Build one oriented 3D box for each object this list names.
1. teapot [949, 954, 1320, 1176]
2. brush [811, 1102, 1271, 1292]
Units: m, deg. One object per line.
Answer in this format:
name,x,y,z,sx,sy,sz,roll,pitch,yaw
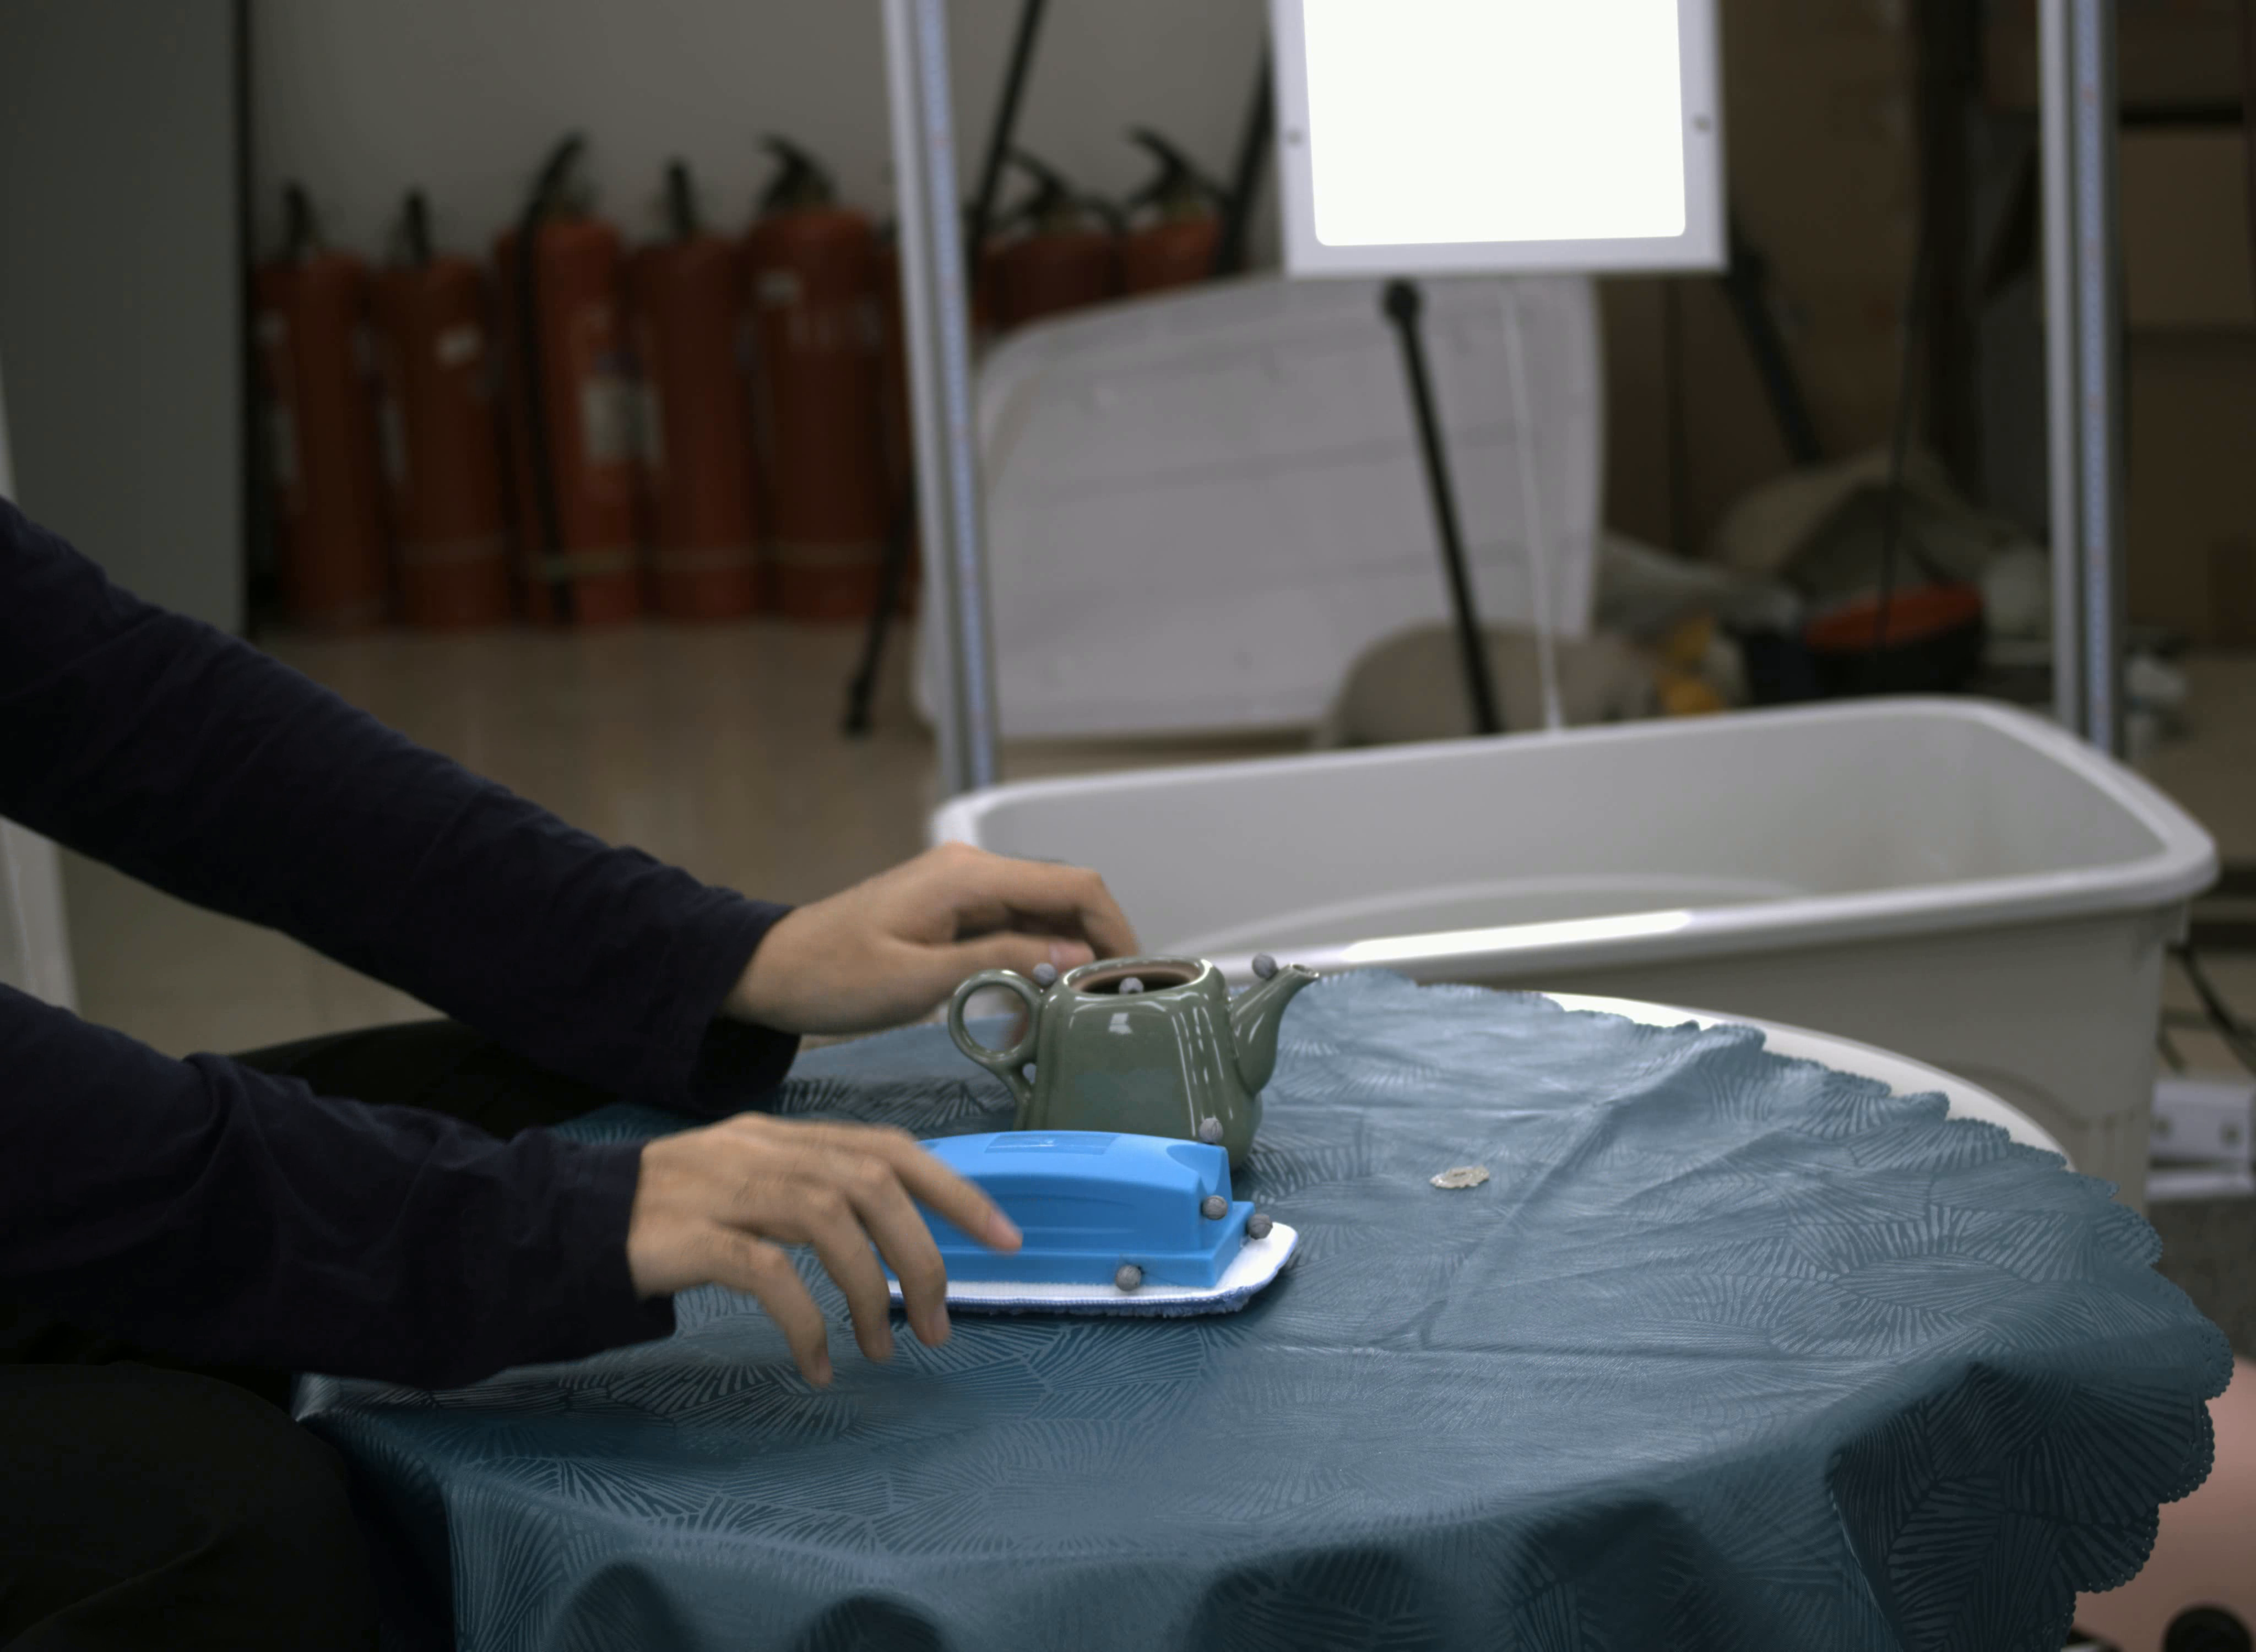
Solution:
teapot,0.005,0.084,1.917,0.133,0.075,0.079,-4,14,11
brush,-0.028,0.121,1.801,0.146,0.056,0.082,4,12,20
